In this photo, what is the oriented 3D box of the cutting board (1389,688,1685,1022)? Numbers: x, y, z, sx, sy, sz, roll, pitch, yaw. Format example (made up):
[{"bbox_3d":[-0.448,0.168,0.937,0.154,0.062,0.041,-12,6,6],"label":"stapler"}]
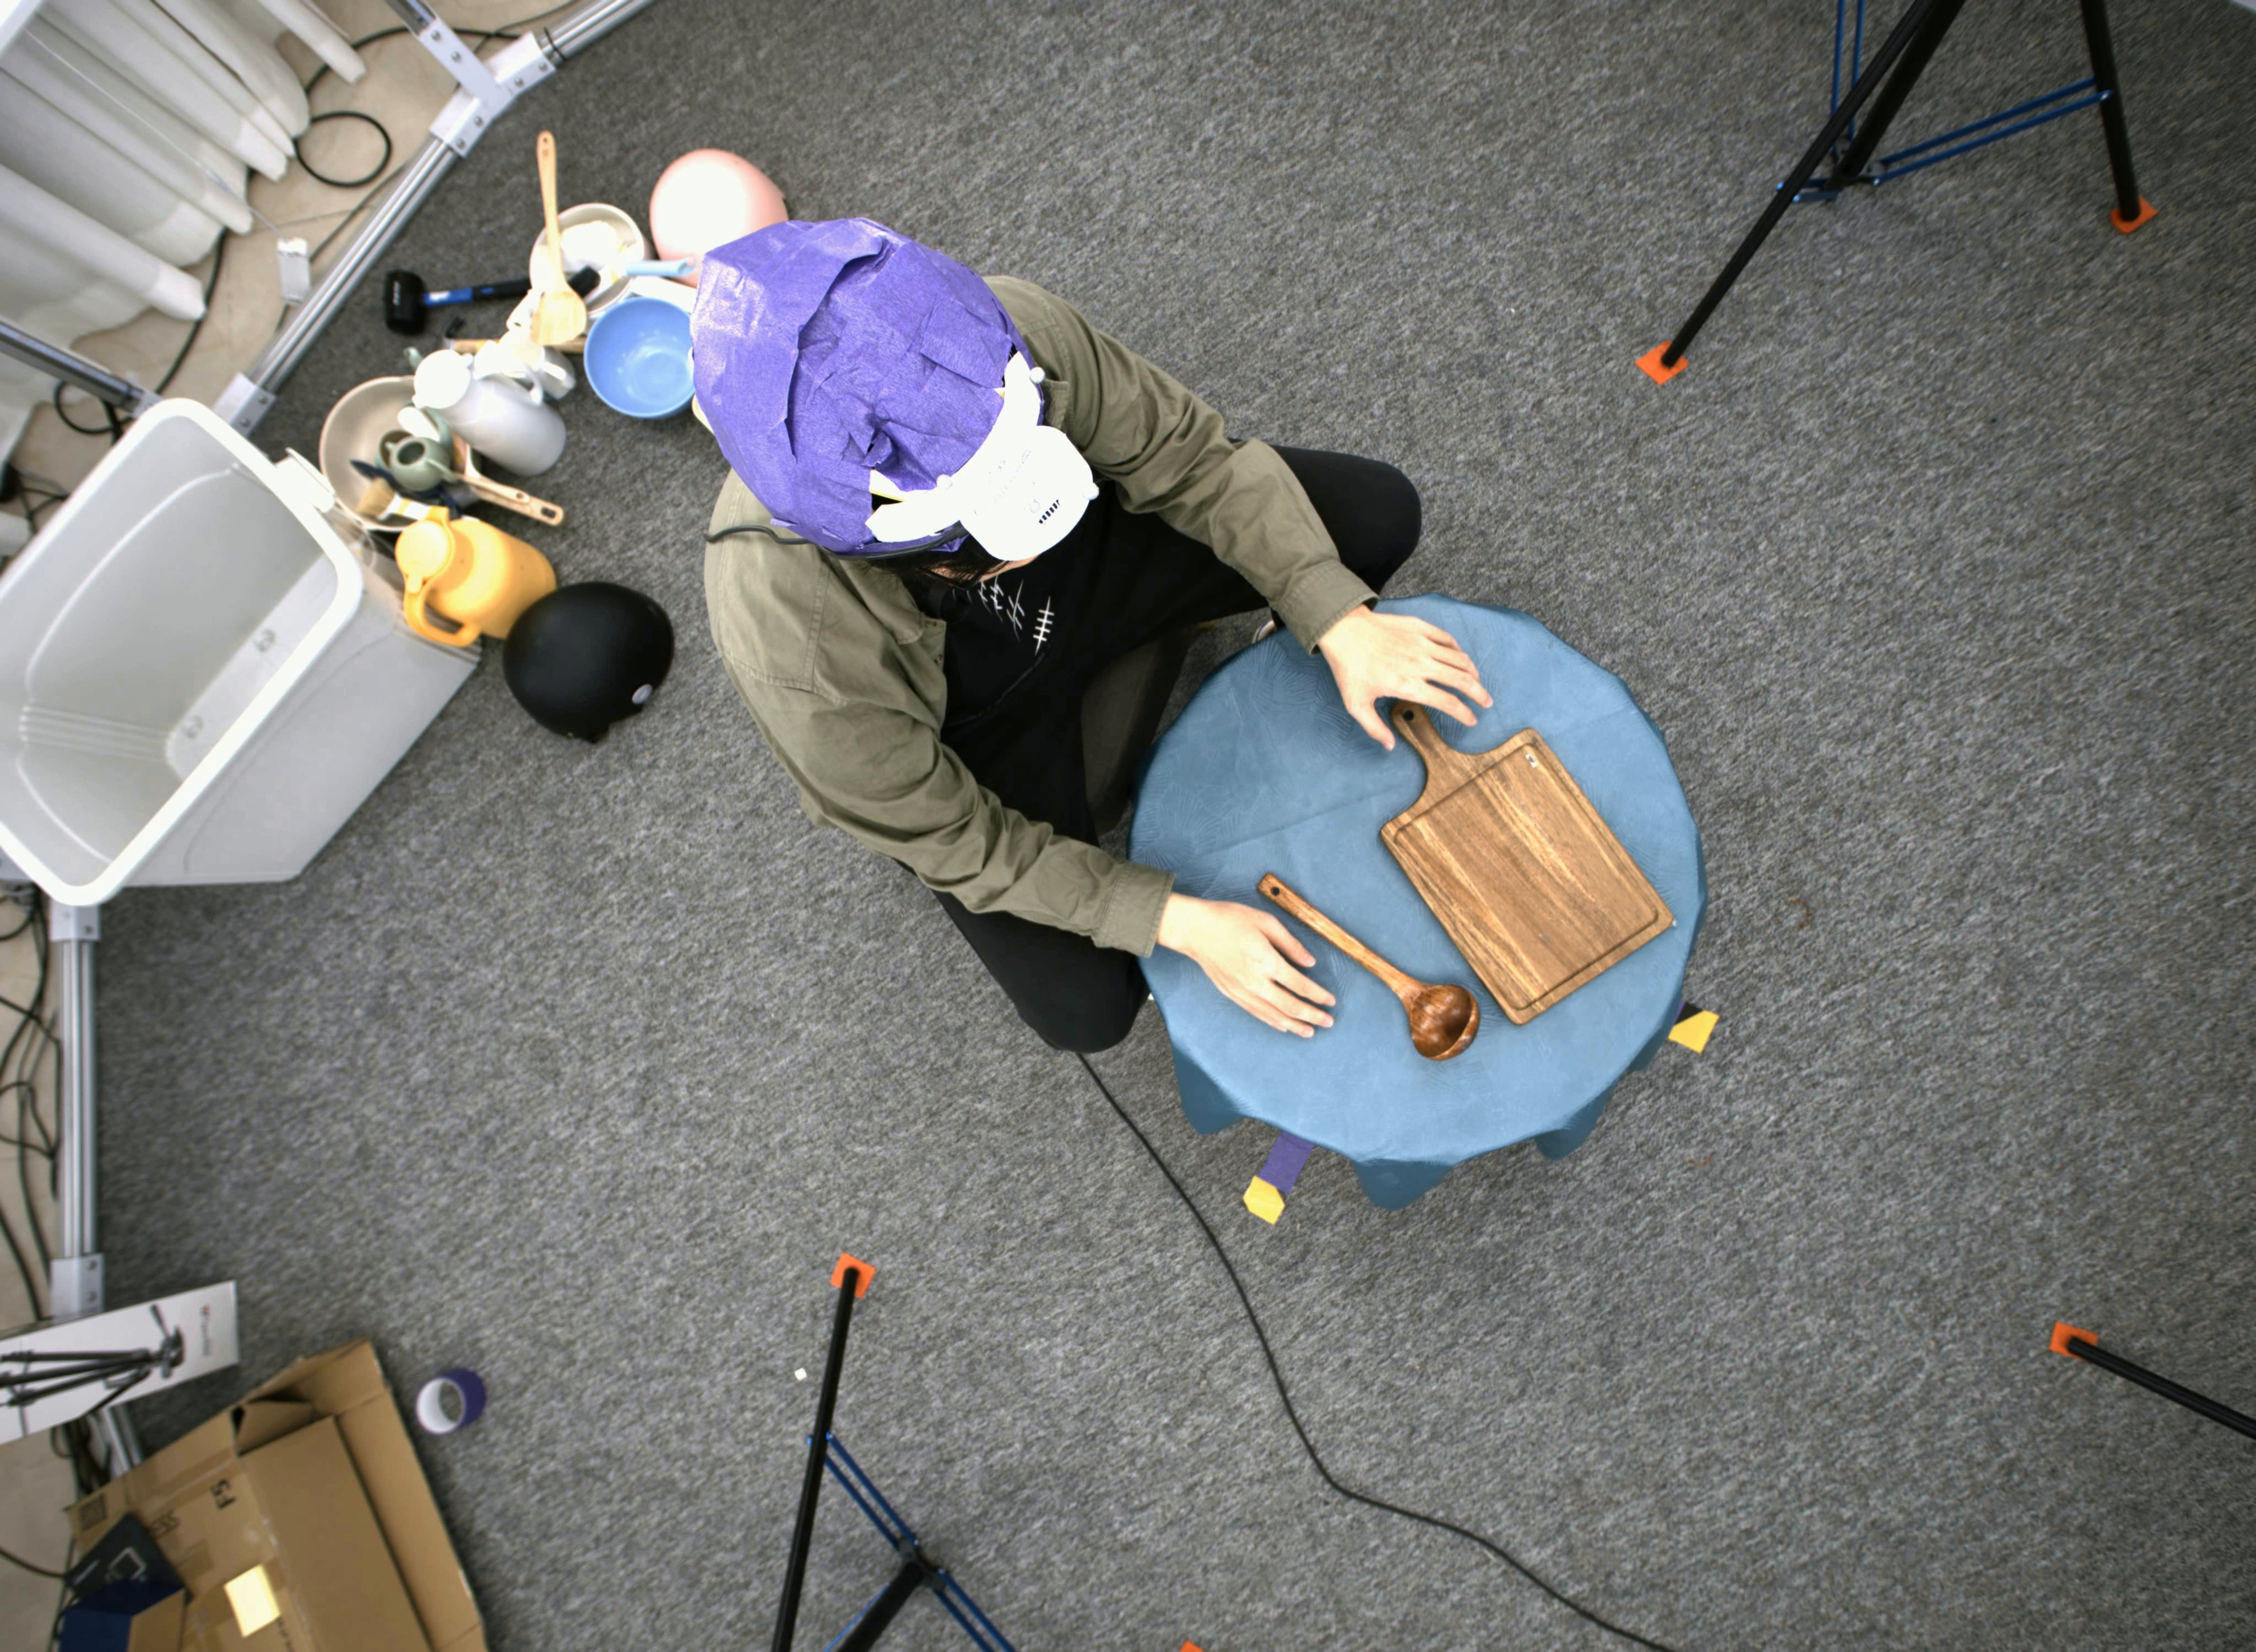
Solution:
[{"bbox_3d":[0.392,0.002,1.419,0.202,0.023,0.350,-34,83,7],"label":"cutting board"}]

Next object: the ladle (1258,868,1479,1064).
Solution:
[{"bbox_3d":[0.237,0.137,1.414,0.273,0.076,0.082,38,98,10],"label":"ladle"}]
